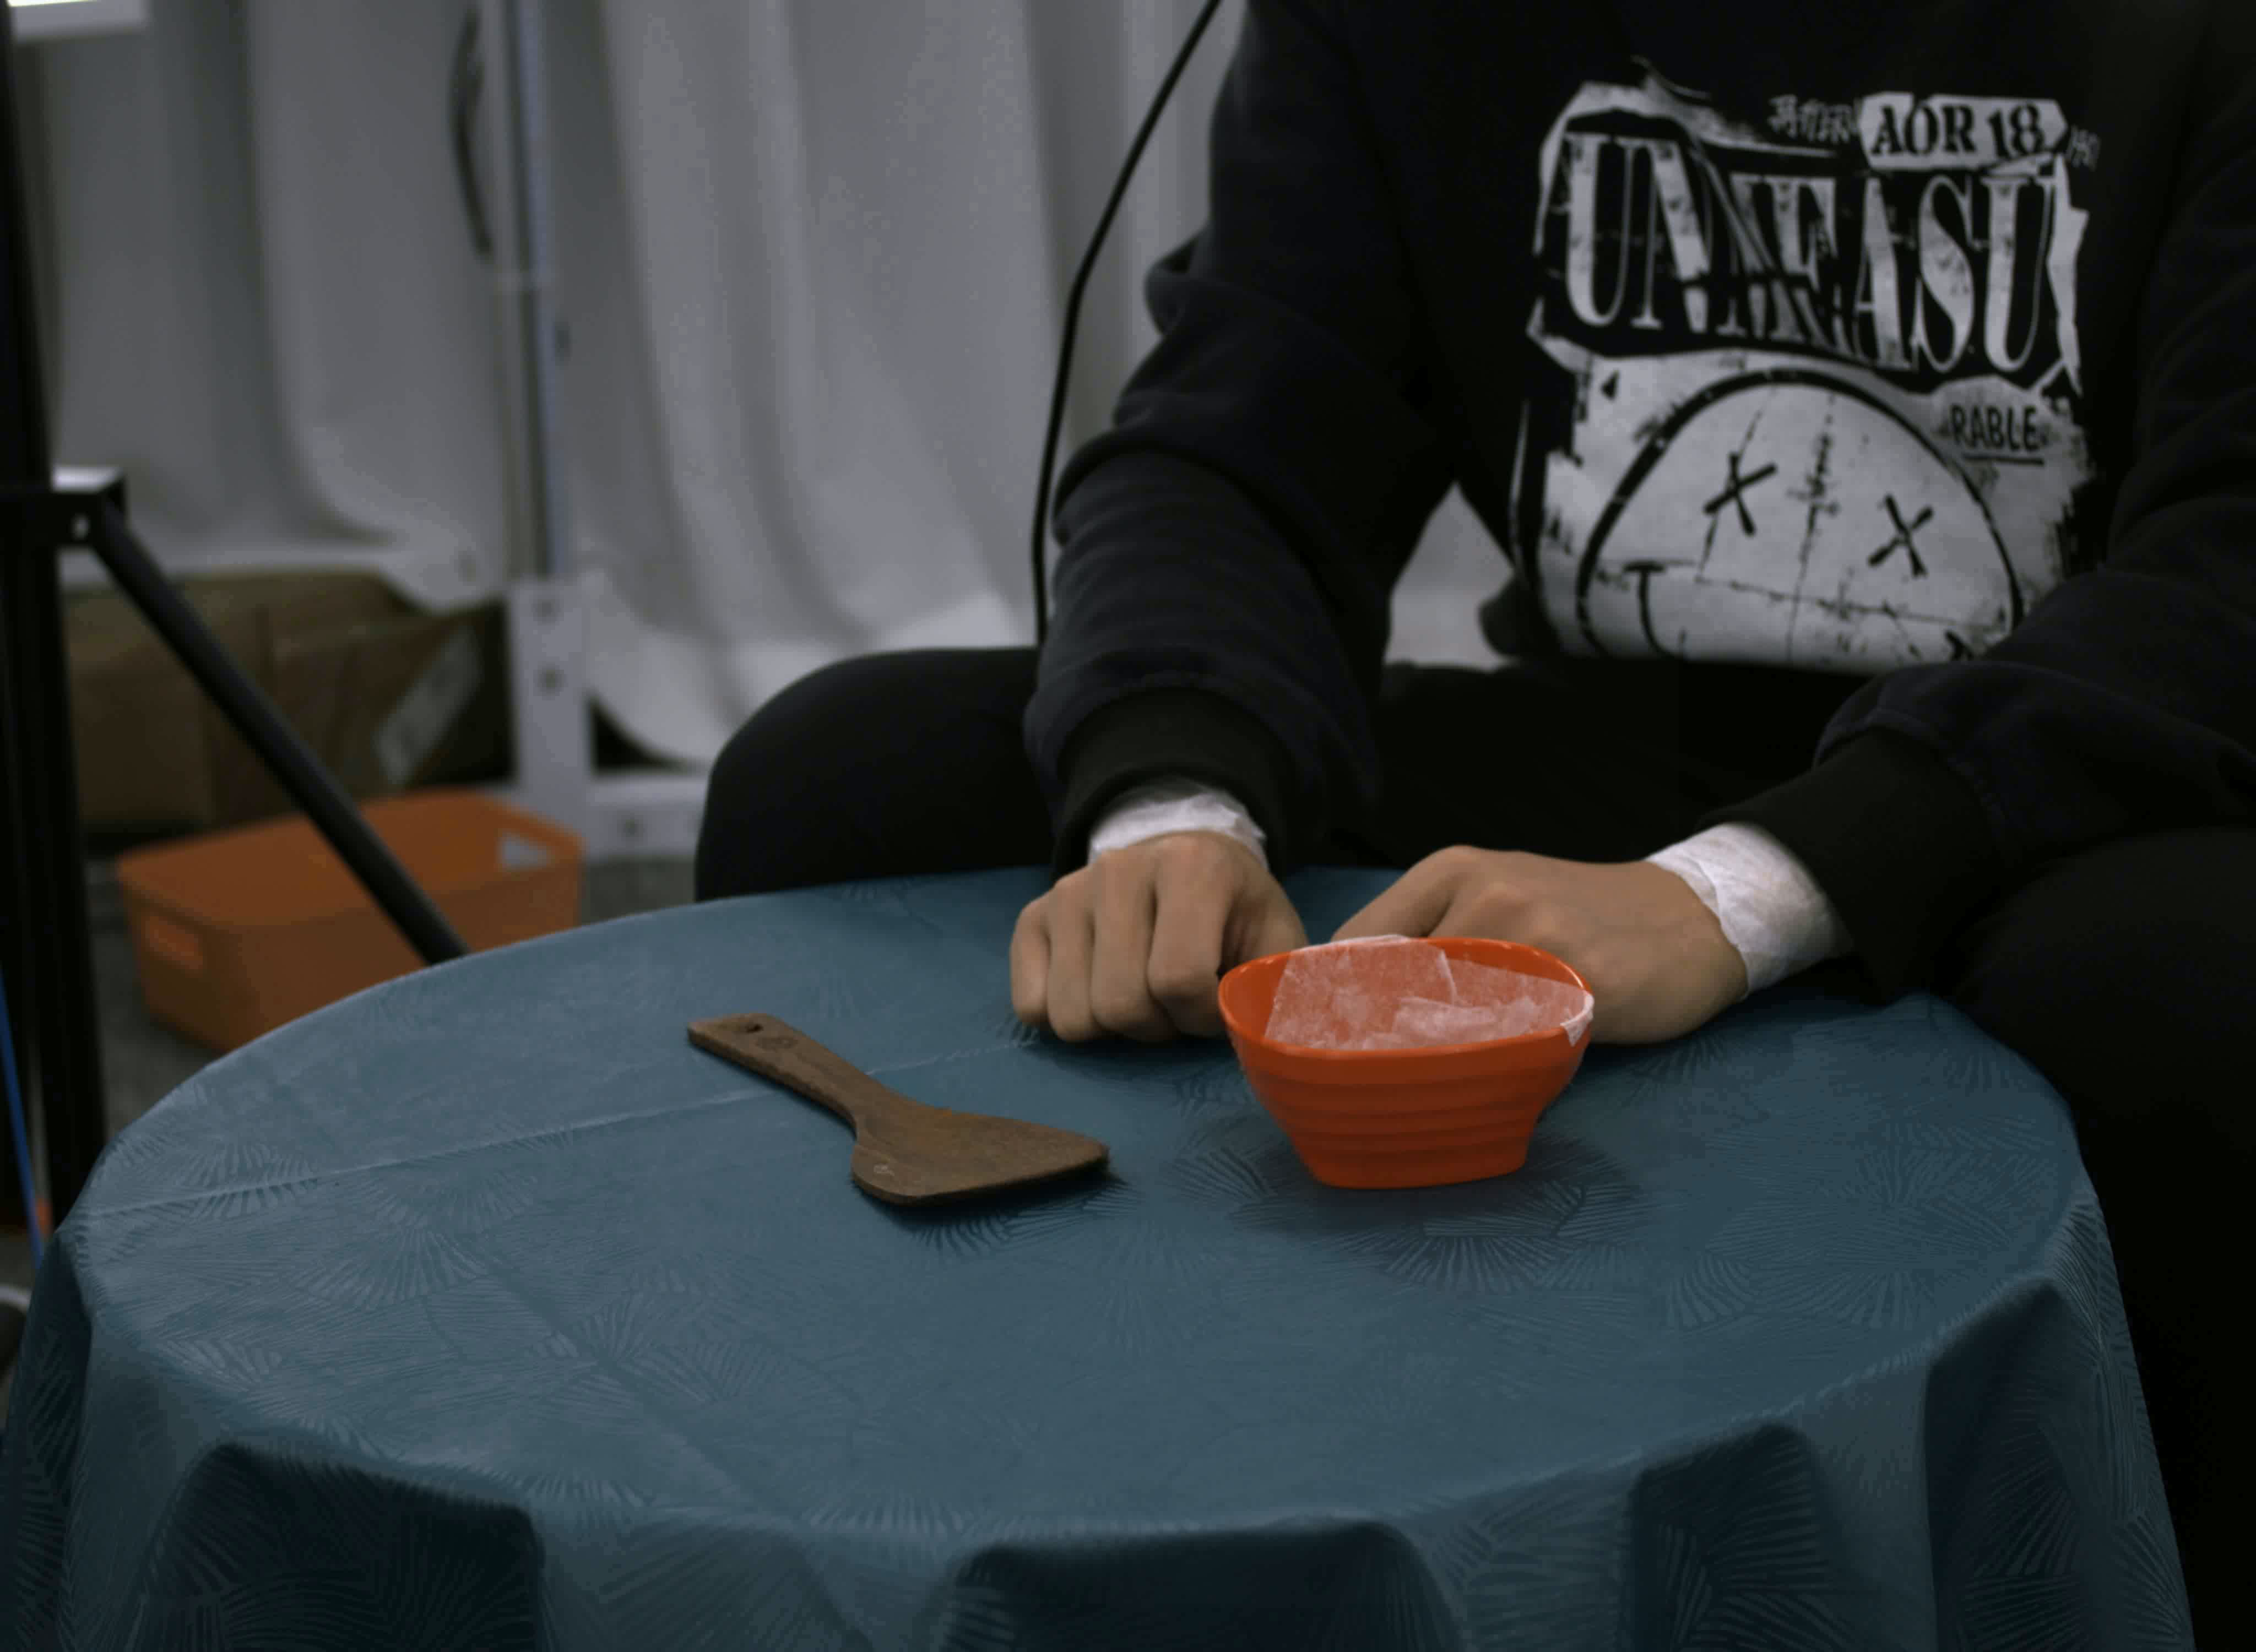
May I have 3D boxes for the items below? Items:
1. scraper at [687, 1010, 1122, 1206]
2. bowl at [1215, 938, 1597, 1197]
[{"bbox_3d":[-0.081,0.085,1.638,0.074,0.011,0.216,-10,17,-28],"label":"scraper"},{"bbox_3d":[0.083,0.074,1.575,0.118,0.051,0.119,-4,16,0],"label":"bowl"}]
